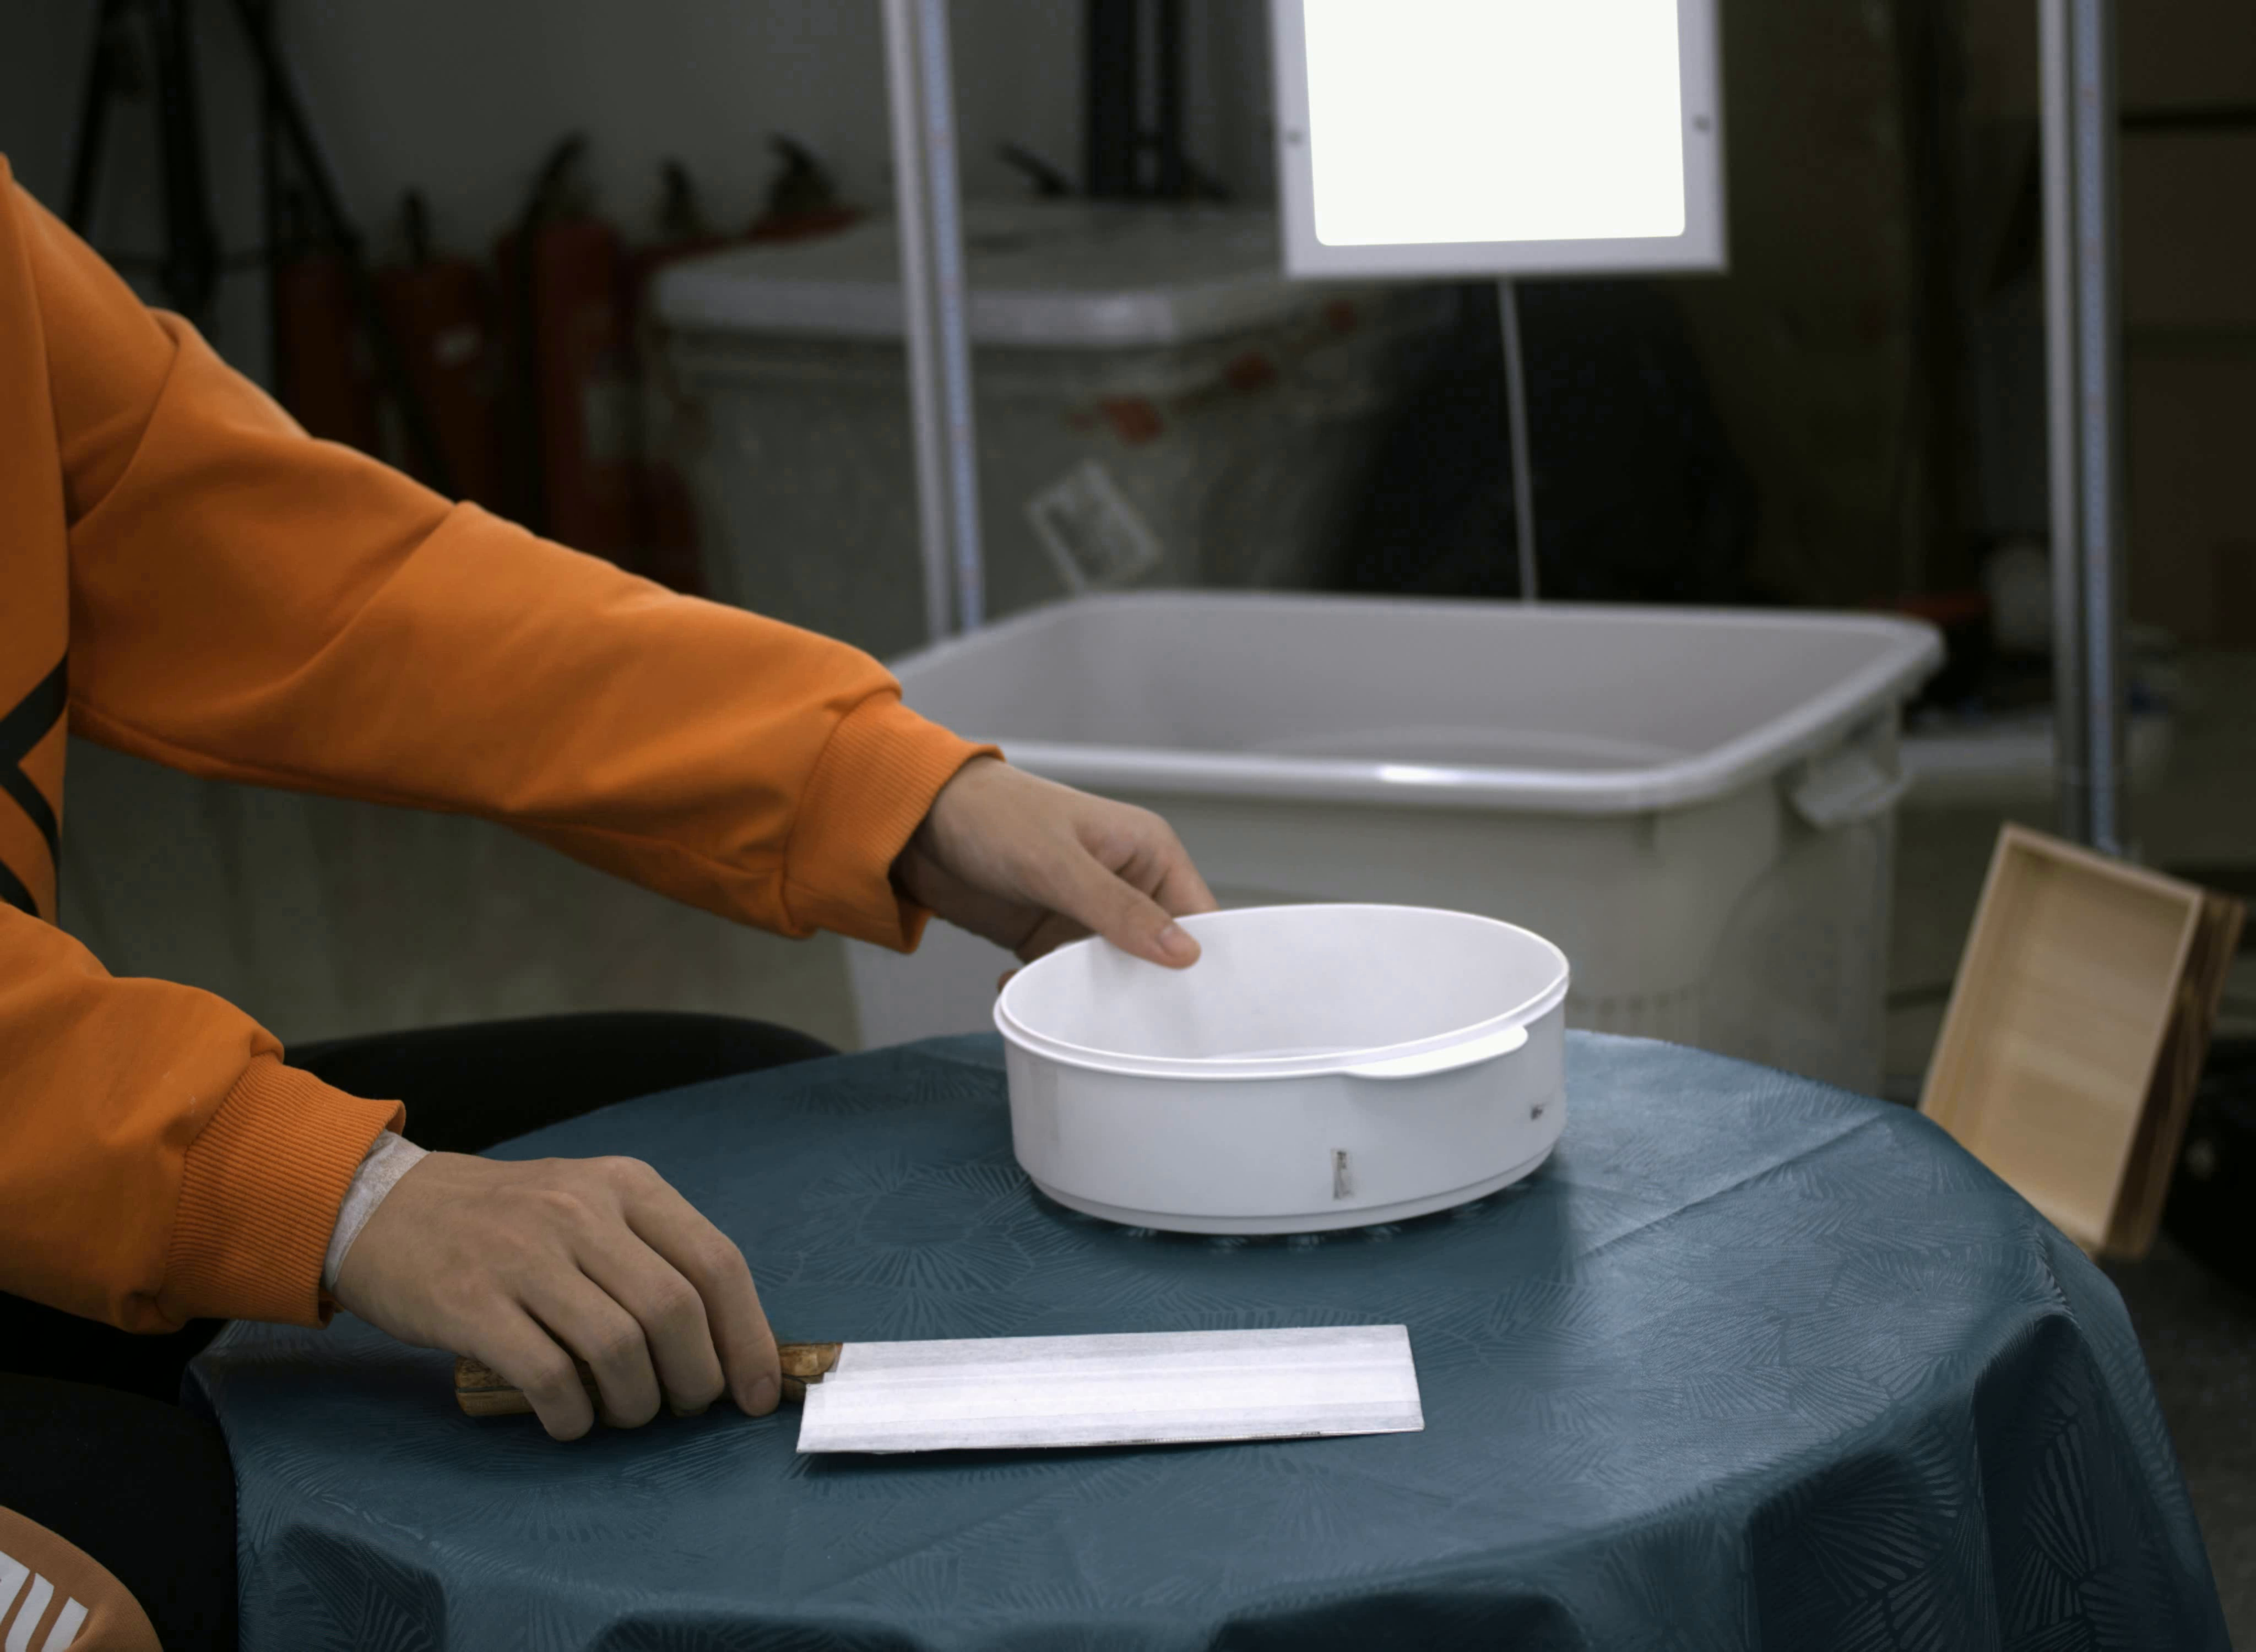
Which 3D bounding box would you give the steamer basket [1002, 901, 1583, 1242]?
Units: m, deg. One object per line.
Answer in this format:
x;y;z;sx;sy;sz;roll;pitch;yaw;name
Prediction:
0.059;0.085;1.900;0.197;0.069;0.235;-13;18;-27;steamer basket

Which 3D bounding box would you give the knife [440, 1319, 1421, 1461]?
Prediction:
-0.063;0.174;1.696;0.305;0.021;0.092;-2;16;2;knife
